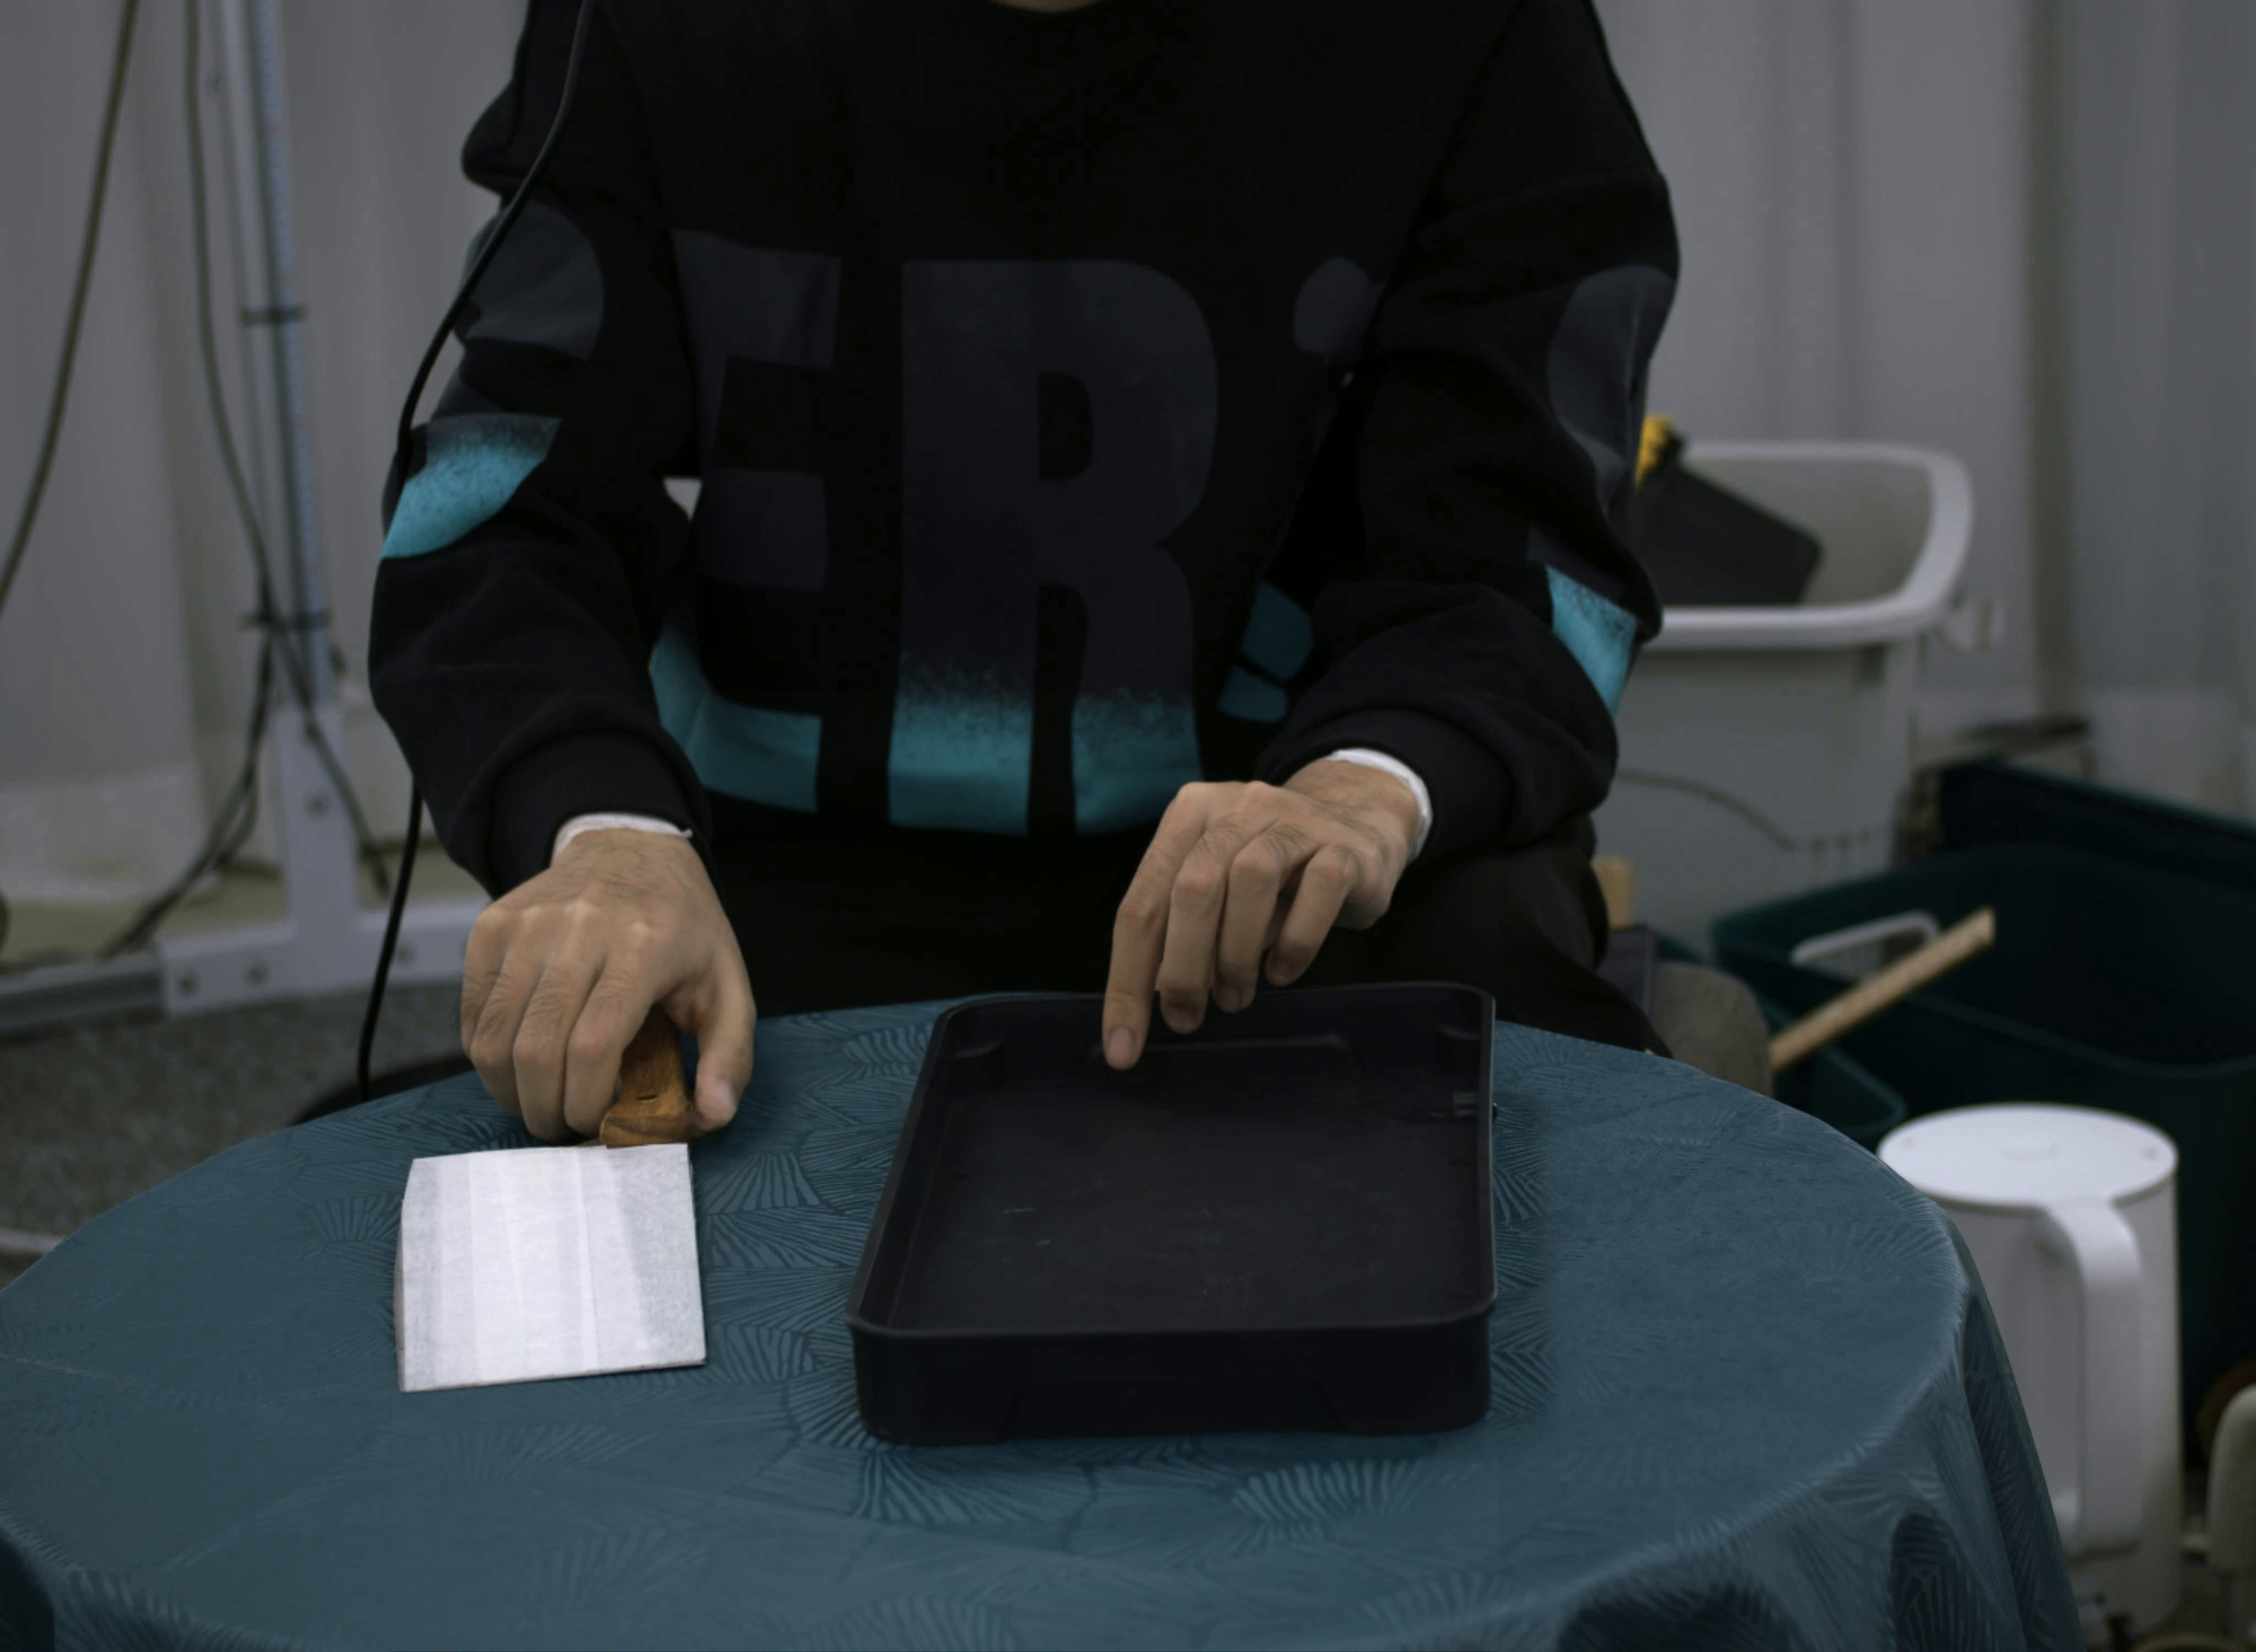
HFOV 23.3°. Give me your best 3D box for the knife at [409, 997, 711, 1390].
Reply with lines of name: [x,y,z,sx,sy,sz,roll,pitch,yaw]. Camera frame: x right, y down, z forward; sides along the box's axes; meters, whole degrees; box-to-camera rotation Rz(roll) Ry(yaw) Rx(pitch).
knife: [-0.180,0.114,1.723,0.092,0.021,0.308,-6,18,-4]

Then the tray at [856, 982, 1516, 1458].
tray: [0.020,0.113,1.647,0.184,0.037,0.320,-3,15,2]
